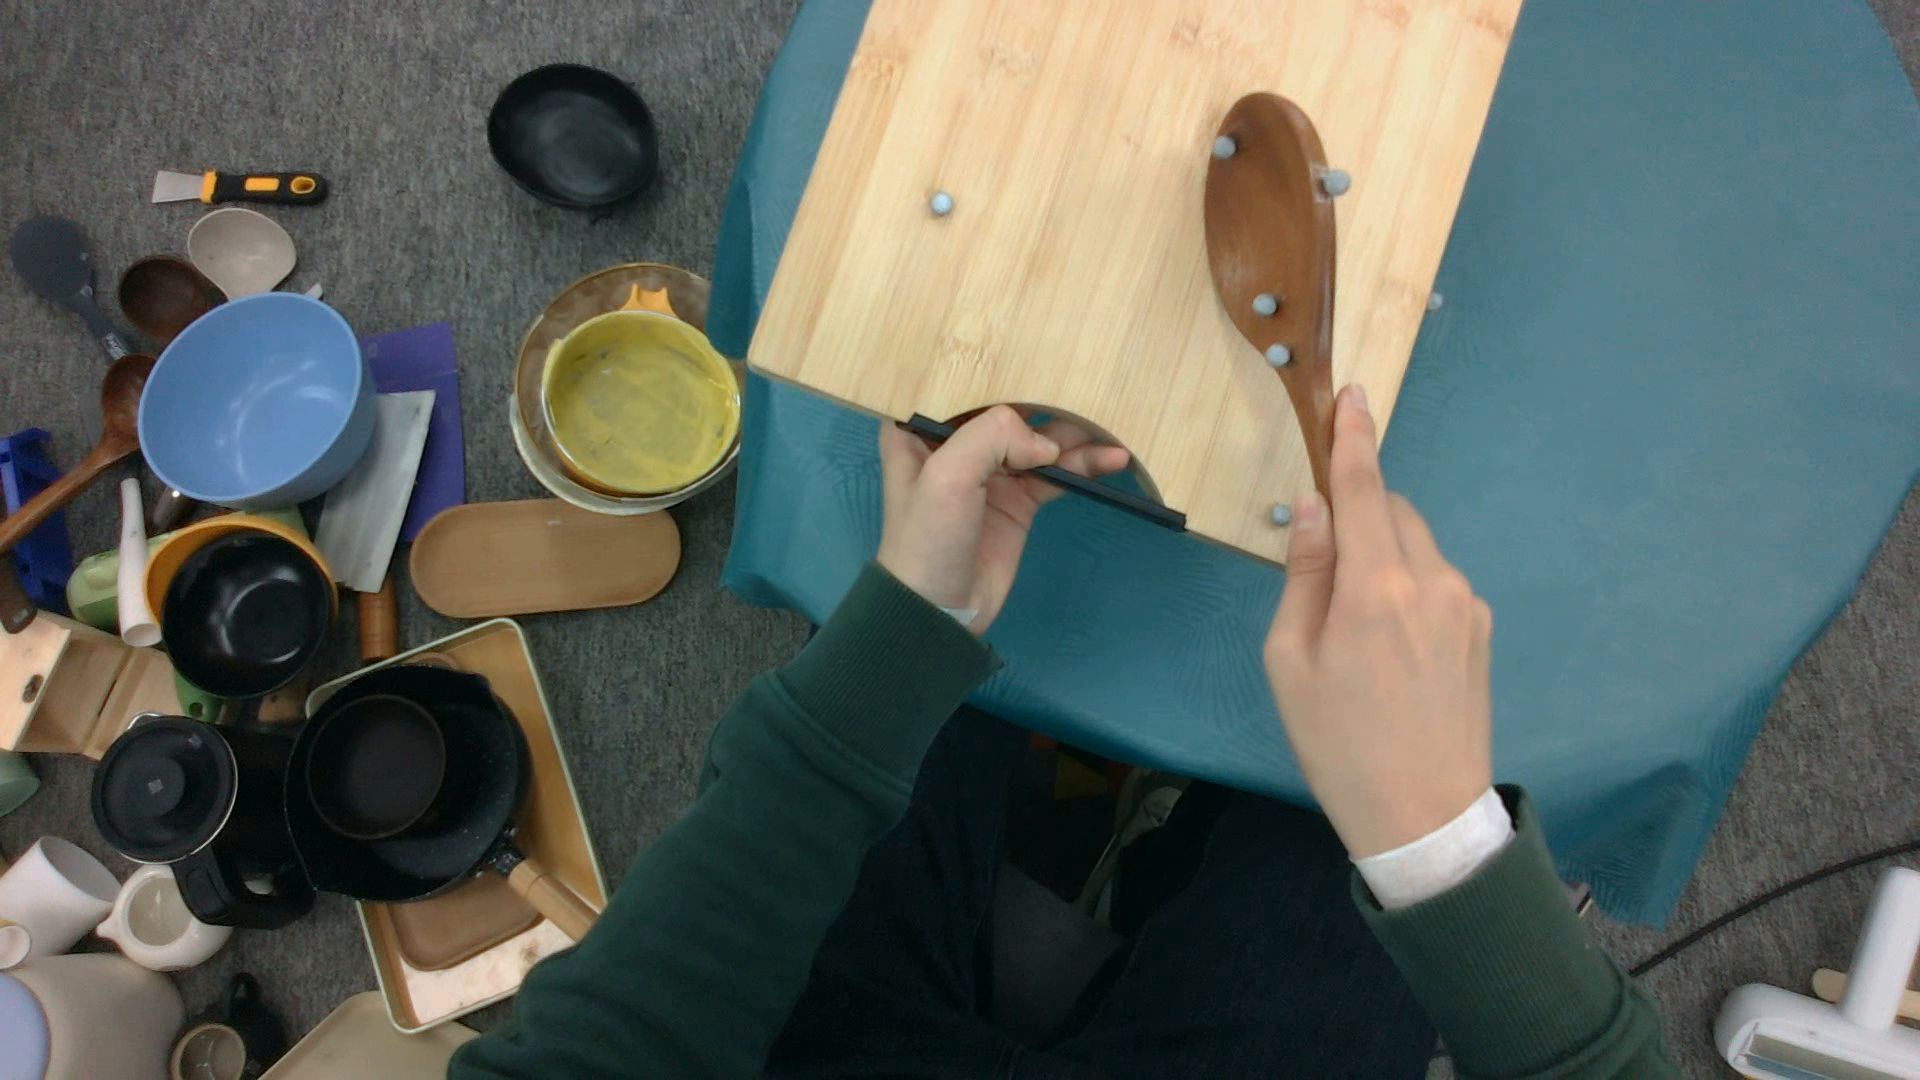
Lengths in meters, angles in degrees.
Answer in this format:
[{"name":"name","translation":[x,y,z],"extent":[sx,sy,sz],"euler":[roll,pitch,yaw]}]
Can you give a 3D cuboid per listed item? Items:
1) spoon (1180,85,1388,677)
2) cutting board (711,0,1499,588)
[{"name":"spoon","translation":[0.116,-0.058,0.481],"extent":[0.017,0.075,0.216],"euler":[-4,75,-23]},{"name":"cutting board","translation":[0.078,-0.182,0.540],"extent":[0.251,0.023,0.349],"euler":[19,83,-9]}]
